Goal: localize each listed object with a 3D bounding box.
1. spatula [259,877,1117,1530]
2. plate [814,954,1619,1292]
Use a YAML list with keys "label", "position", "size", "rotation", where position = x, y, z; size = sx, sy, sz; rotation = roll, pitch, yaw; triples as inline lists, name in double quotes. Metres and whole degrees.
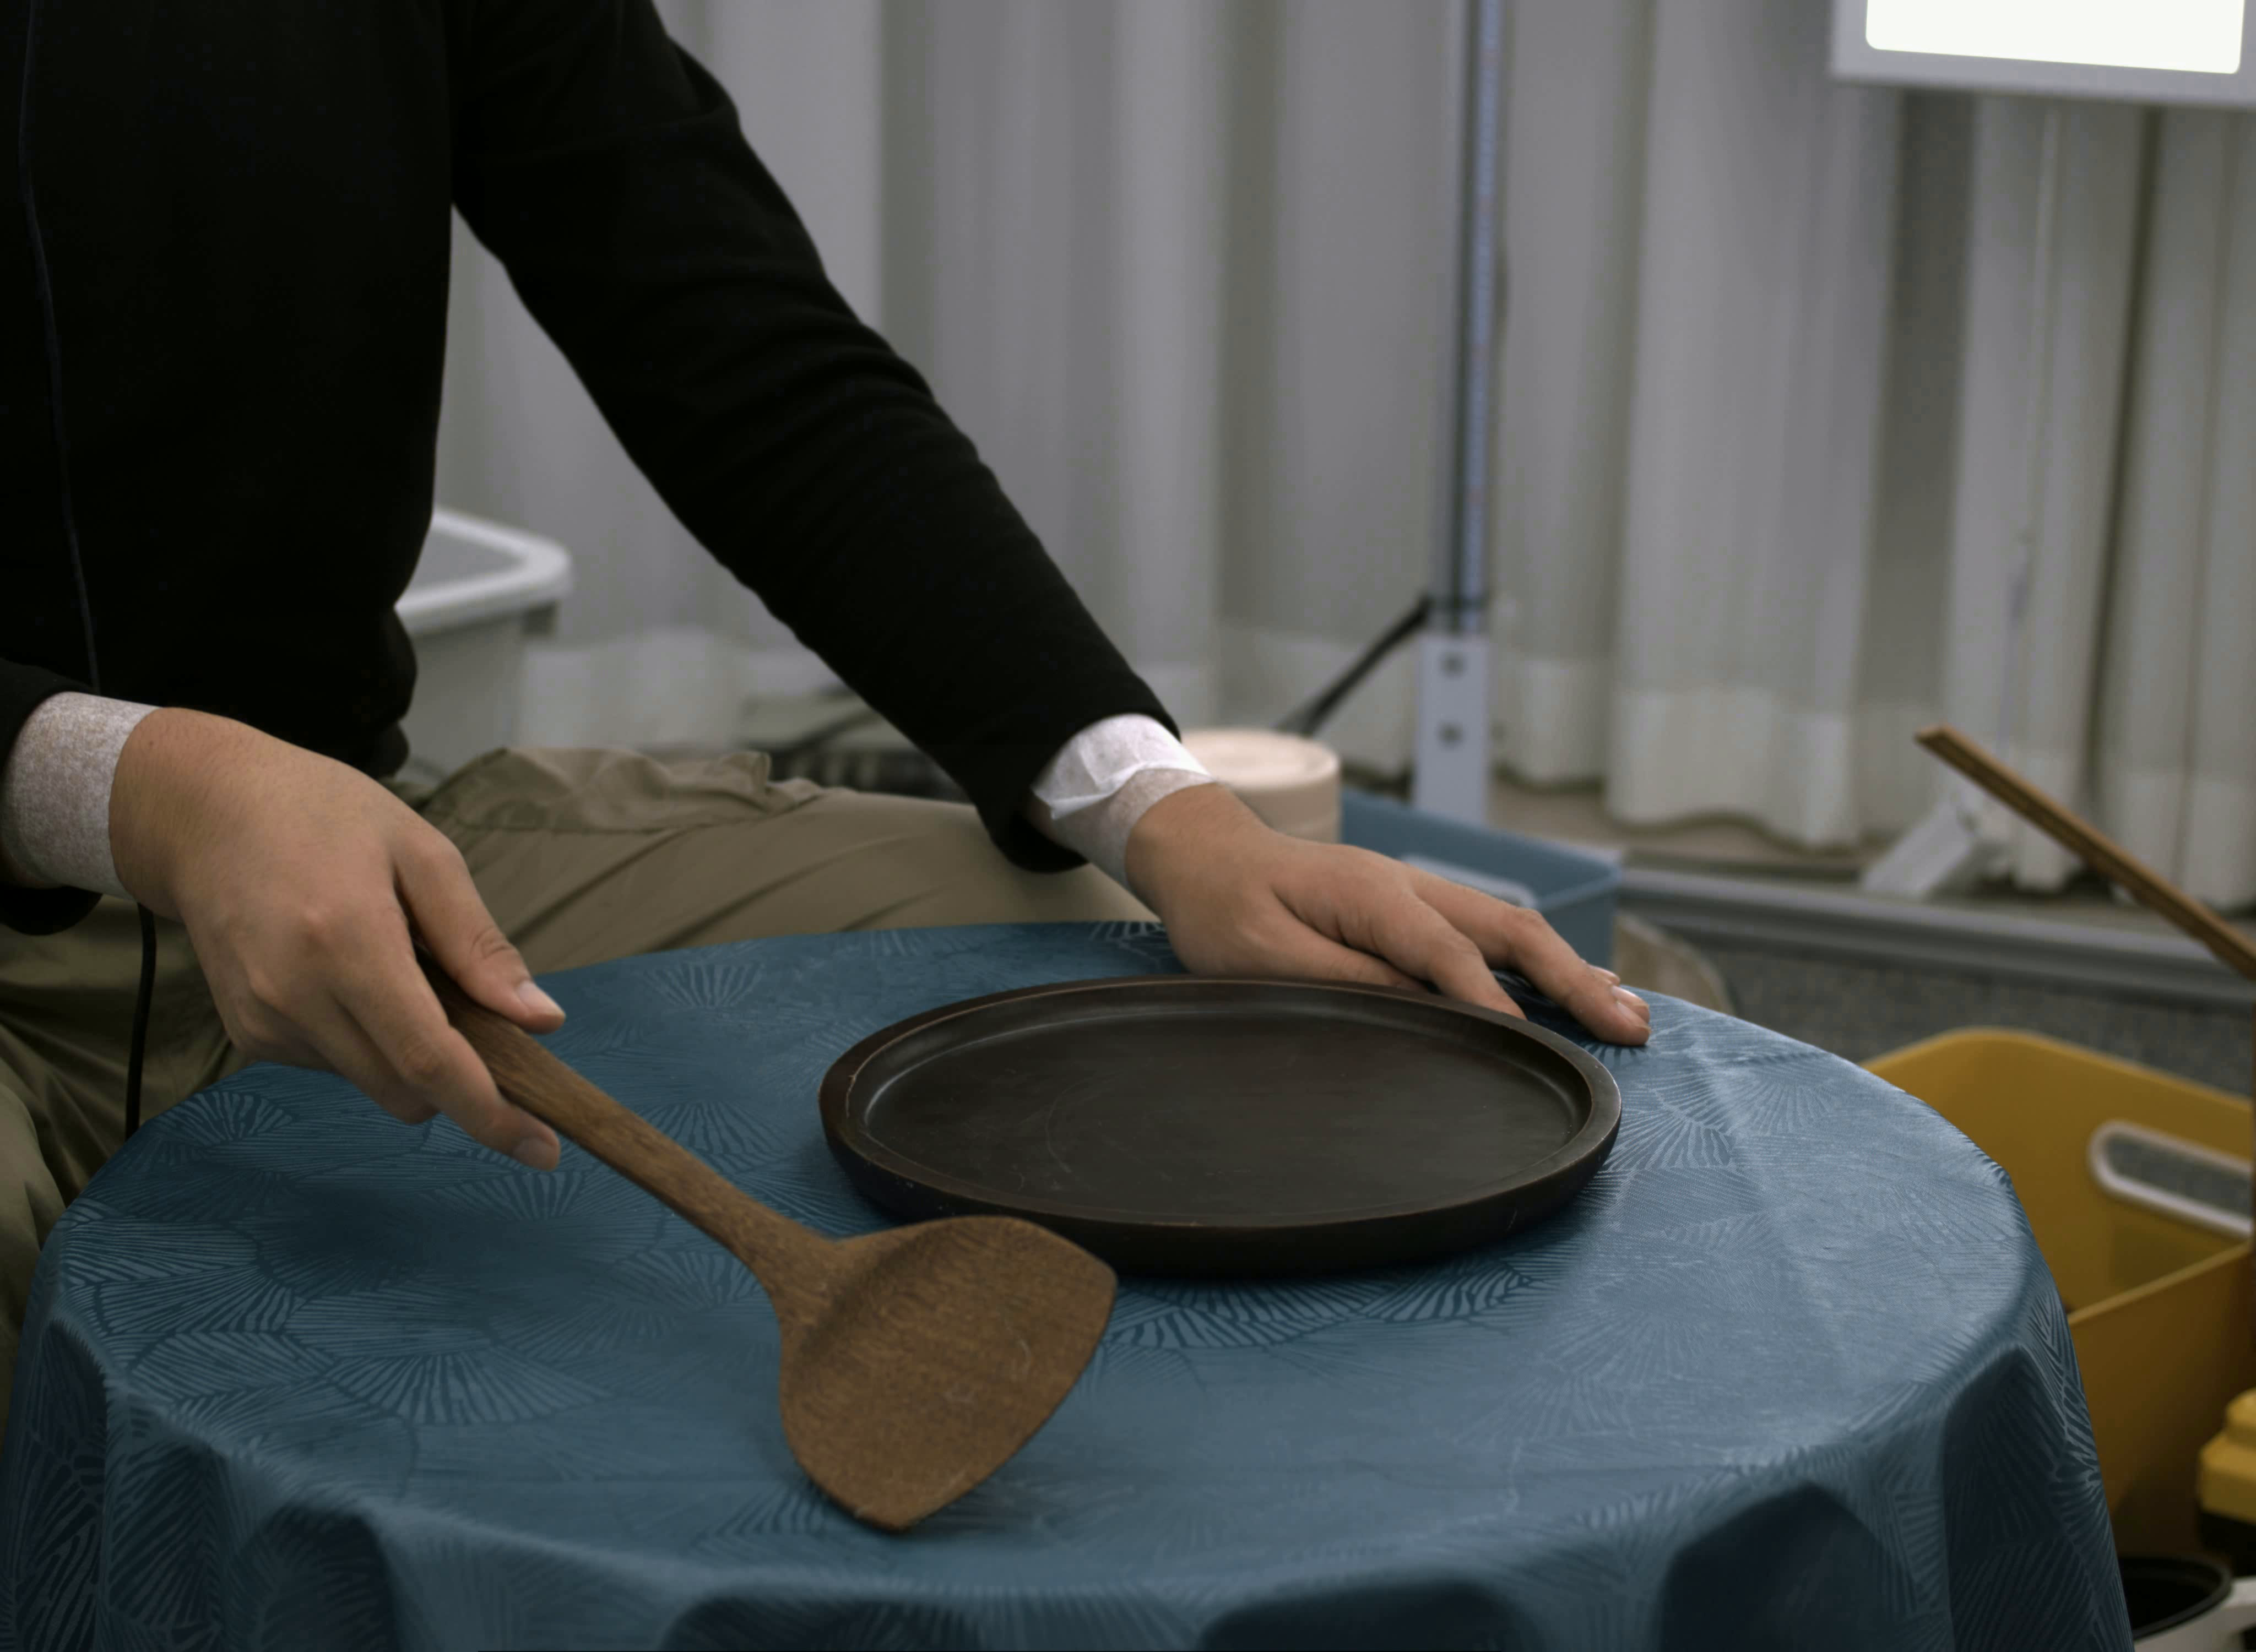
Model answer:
- label: "spatula"
  position: [-0.143, 0.089, 1.490]
  size: [0.096, 0.016, 0.380]
  rotation: [-48, 46, -13]
- label: "plate"
  position: [0.028, 0.093, 1.651]
  size: [0.254, 0.029, 0.253]
  rotation: [0, 17, 0]
